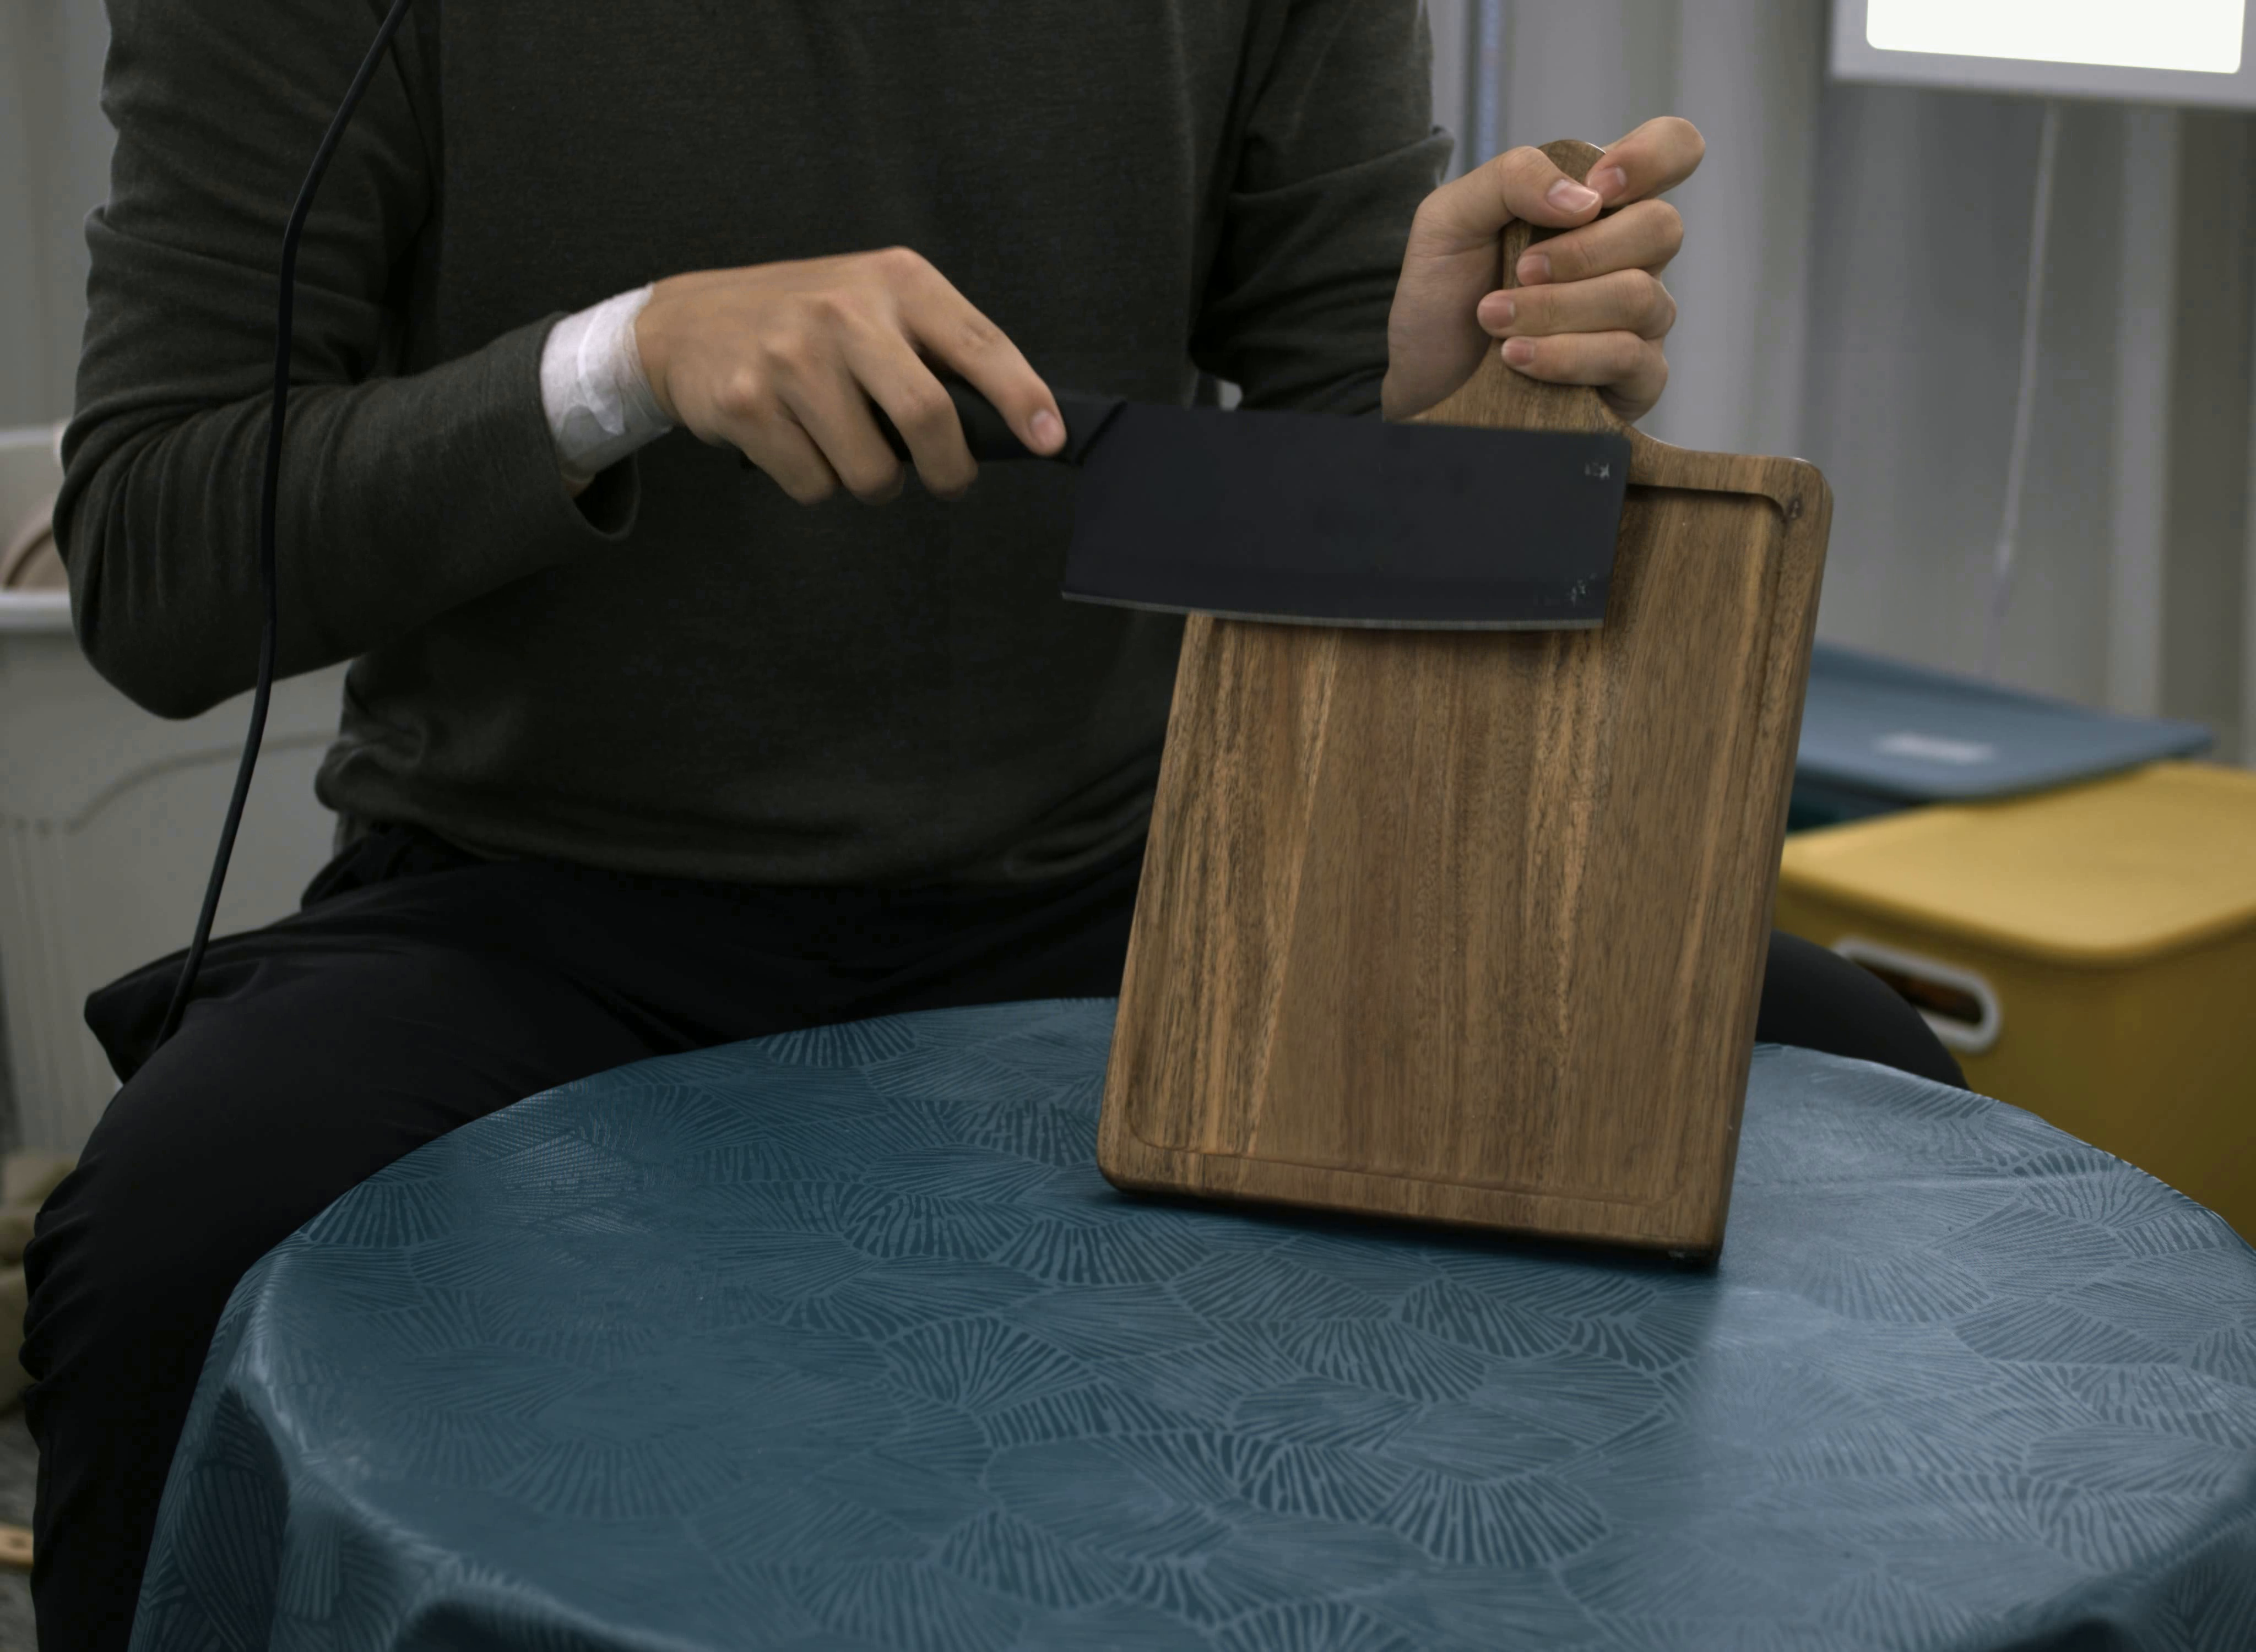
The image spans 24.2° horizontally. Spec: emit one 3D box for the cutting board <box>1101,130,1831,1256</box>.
[{"bbox_3d":[0.111,-0.048,1.624,0.199,0.352,0.023,6,-14,17],"label":"cutting board"}]

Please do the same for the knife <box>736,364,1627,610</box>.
[{"bbox_3d":[0.012,-0.109,1.659,0.299,0.081,0.021,10,-10,22],"label":"knife"}]
